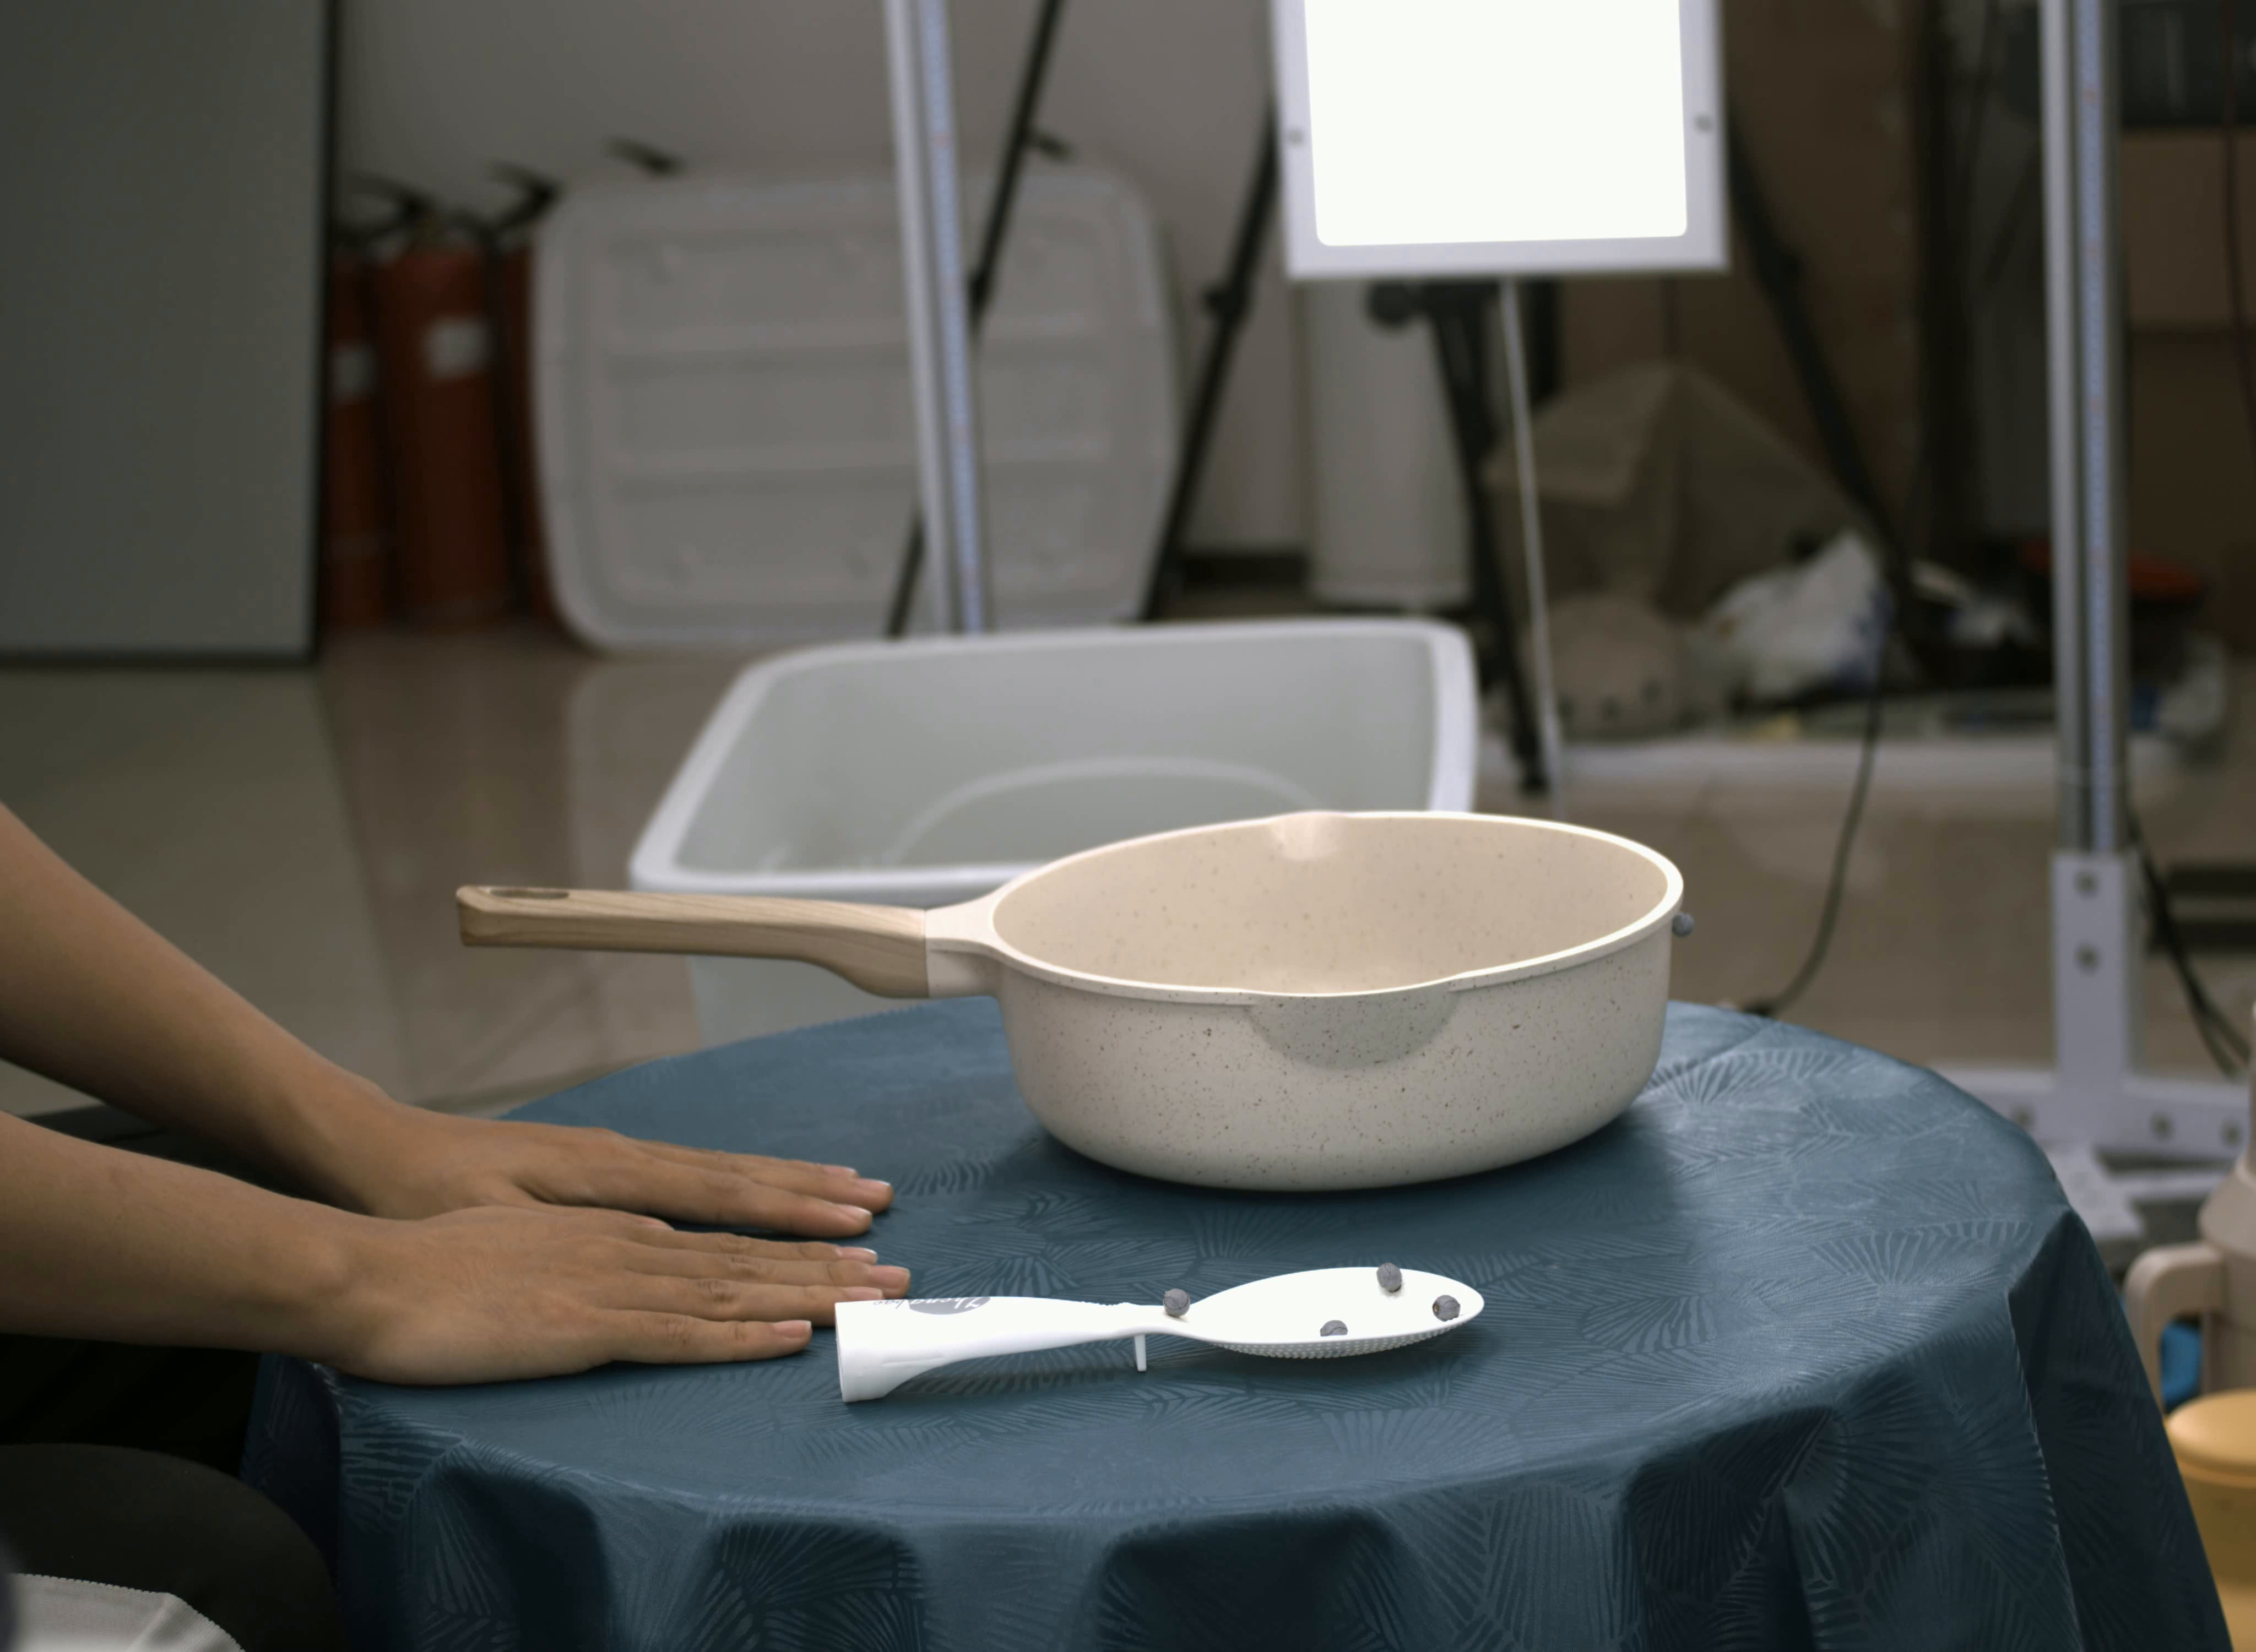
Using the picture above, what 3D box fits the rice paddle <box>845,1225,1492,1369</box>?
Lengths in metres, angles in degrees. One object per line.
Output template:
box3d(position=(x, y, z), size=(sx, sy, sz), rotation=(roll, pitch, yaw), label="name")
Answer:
box3d(position=(0.014, 0.143, 1.730), size=(0.204, 0.029, 0.069), rotation=(-6, 15, -3), label="rice paddle")

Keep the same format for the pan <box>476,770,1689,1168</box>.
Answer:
box3d(position=(-0.013, 0.054, 1.980), size=(0.434, 0.102, 0.263), rotation=(-5, 16, 1), label="pan")
